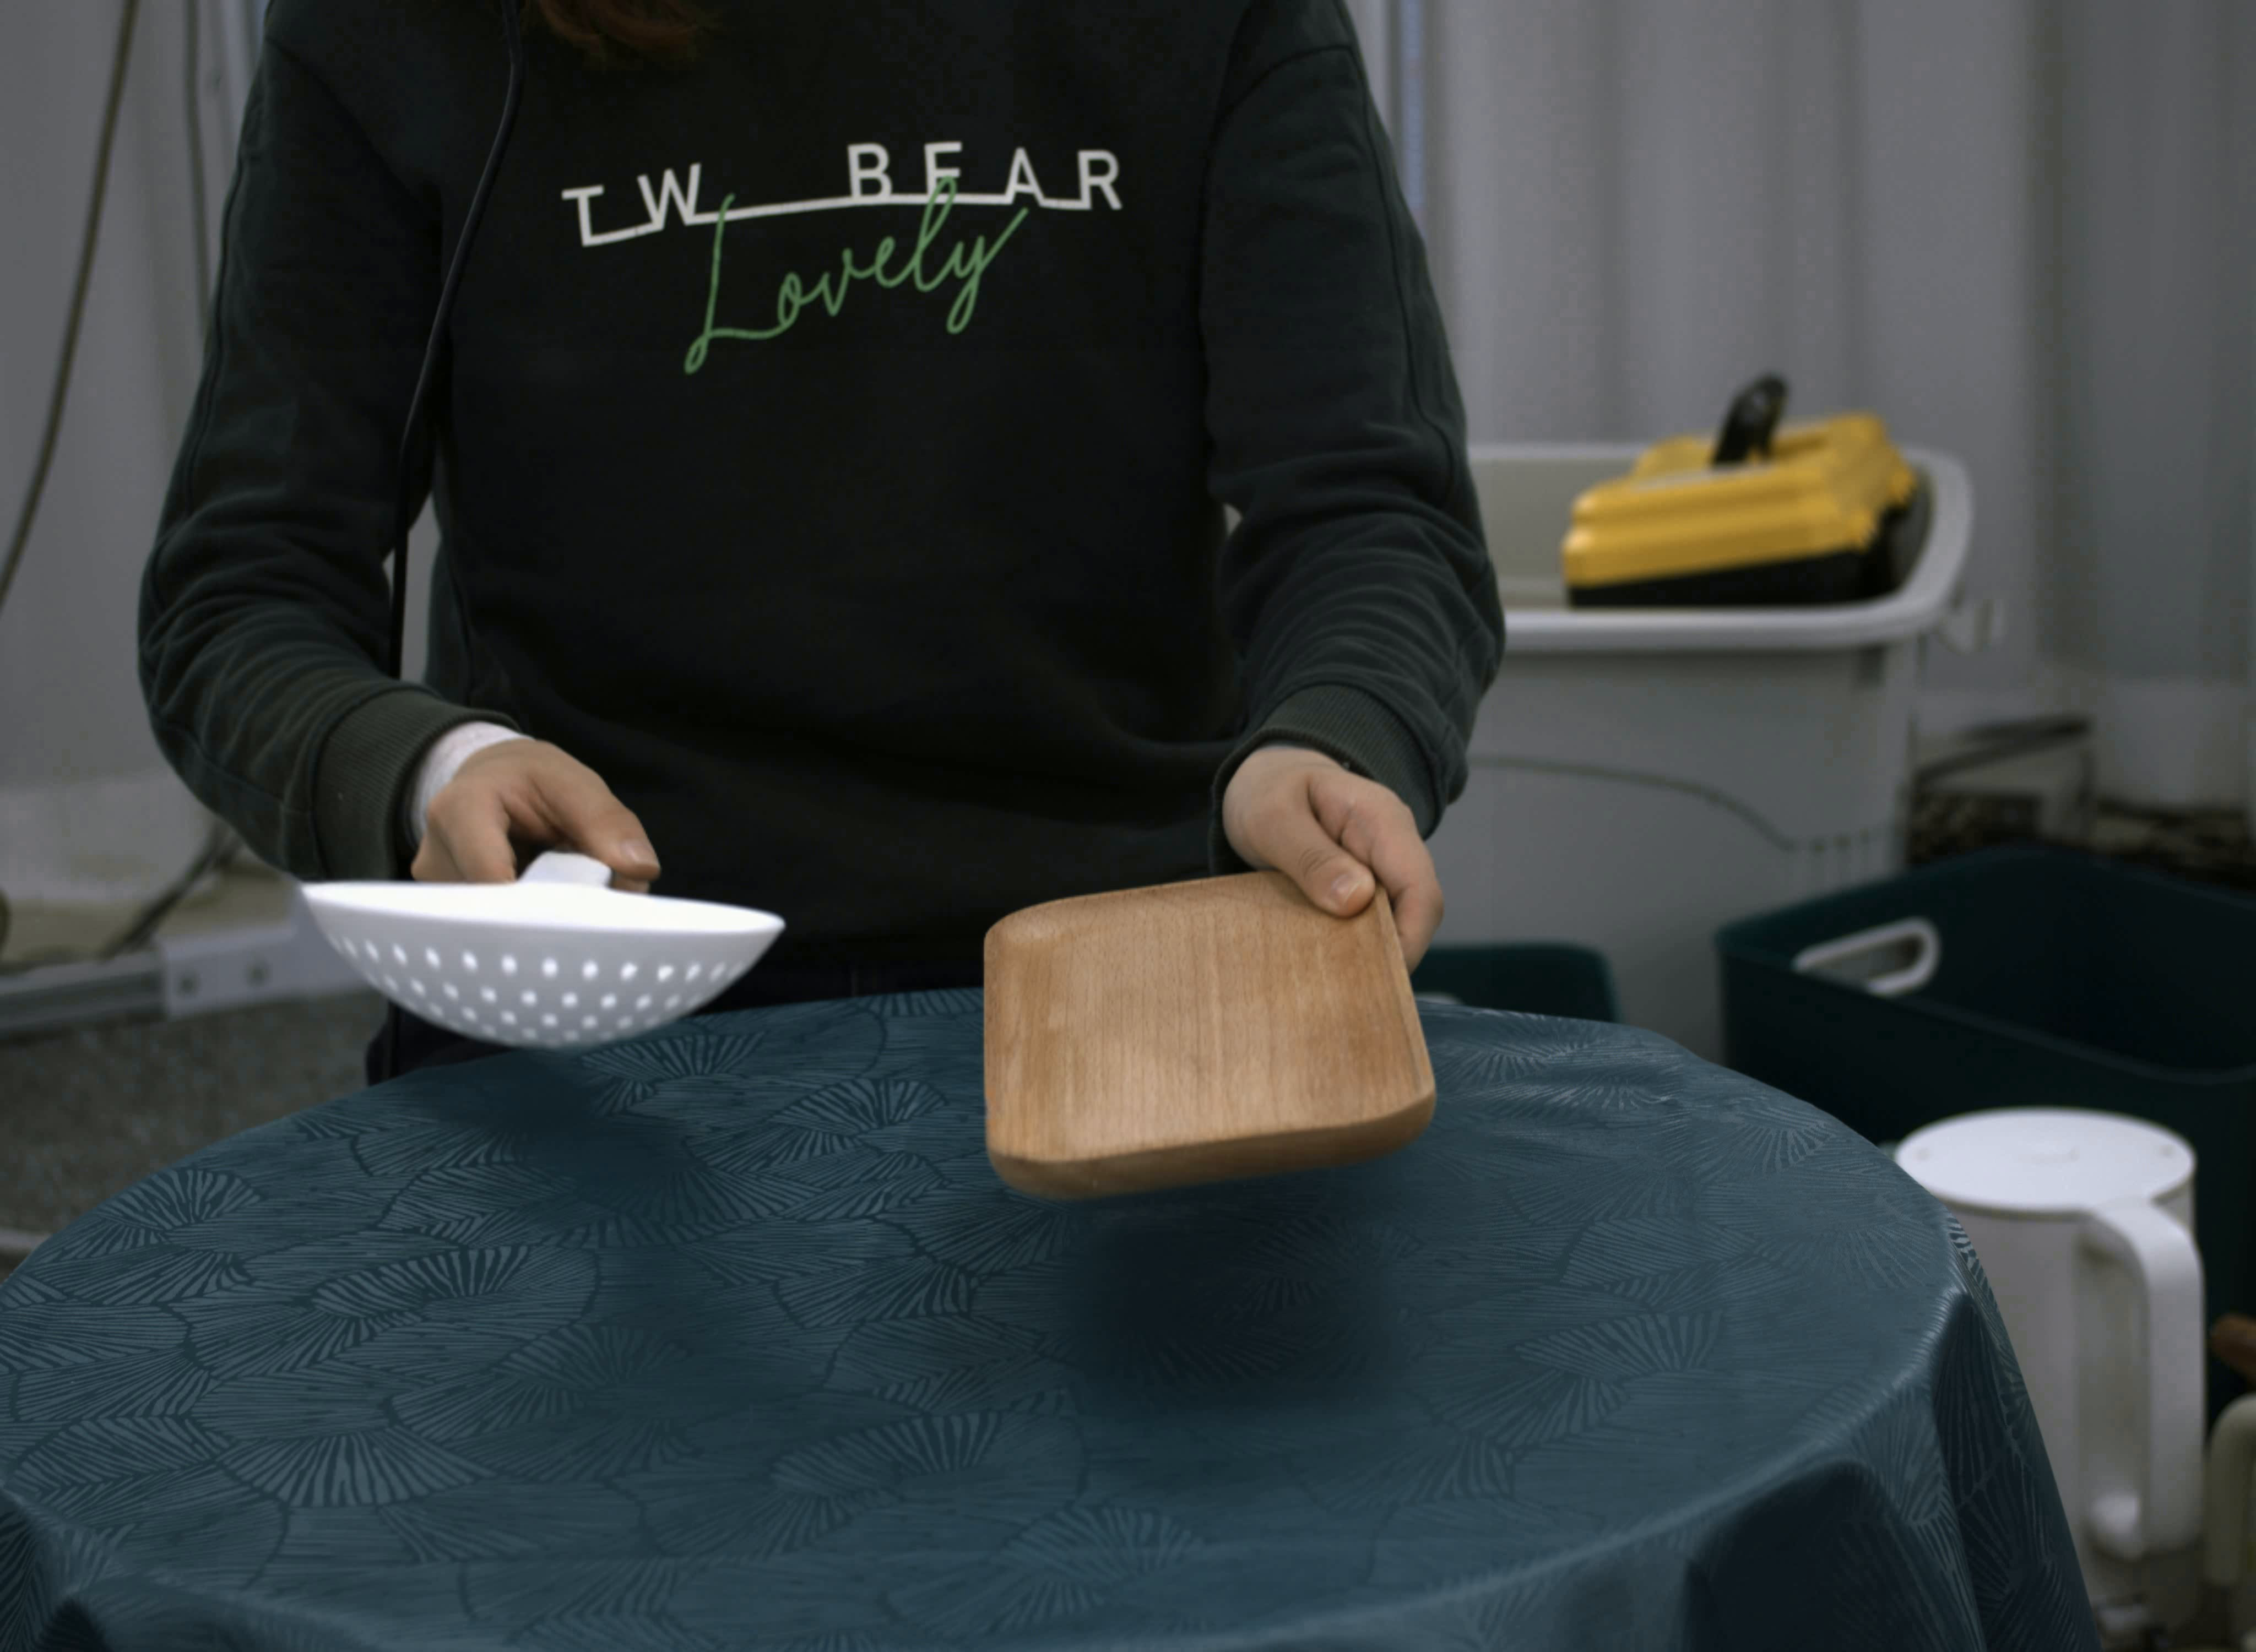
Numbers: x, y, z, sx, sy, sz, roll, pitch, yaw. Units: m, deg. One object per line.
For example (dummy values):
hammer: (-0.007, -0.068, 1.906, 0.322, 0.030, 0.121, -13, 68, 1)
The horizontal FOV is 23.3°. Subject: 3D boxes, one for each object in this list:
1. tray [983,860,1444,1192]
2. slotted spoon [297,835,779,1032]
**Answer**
tray: (0.022, 0.057, 1.617, 0.130, 0.023, 0.252, -5, 15, 0)
slotted spoon: (-0.172, 0.020, 1.645, 0.135, 0.046, 0.351, 5, 7, -3)
